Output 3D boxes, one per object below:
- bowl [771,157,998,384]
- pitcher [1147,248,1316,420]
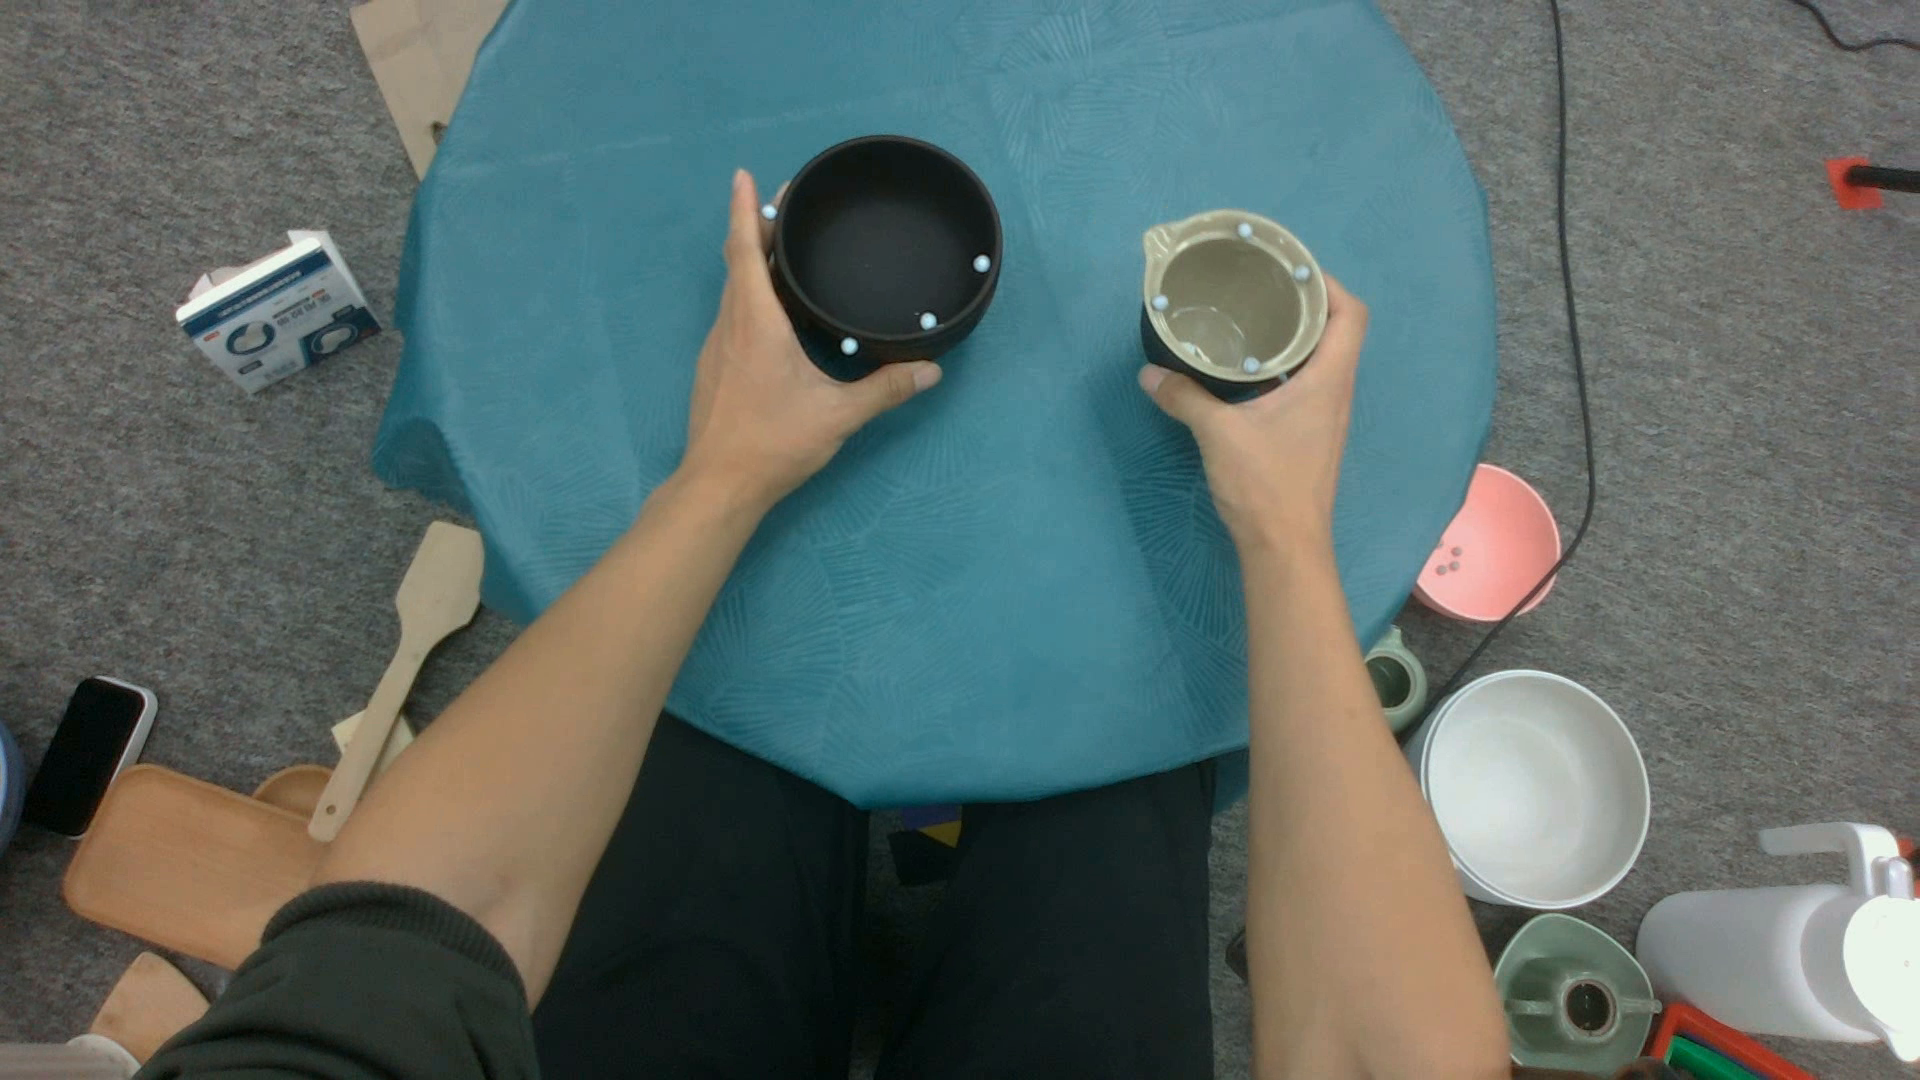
[{"bbox_3d":[-0.041,-0.137,0.738,0.118,0.069,0.118,2,72,-5],"label":"bowl"},{"bbox_3d":[0.136,-0.107,0.736,0.084,0.071,0.096,-43,82,-15],"label":"pitcher"}]
